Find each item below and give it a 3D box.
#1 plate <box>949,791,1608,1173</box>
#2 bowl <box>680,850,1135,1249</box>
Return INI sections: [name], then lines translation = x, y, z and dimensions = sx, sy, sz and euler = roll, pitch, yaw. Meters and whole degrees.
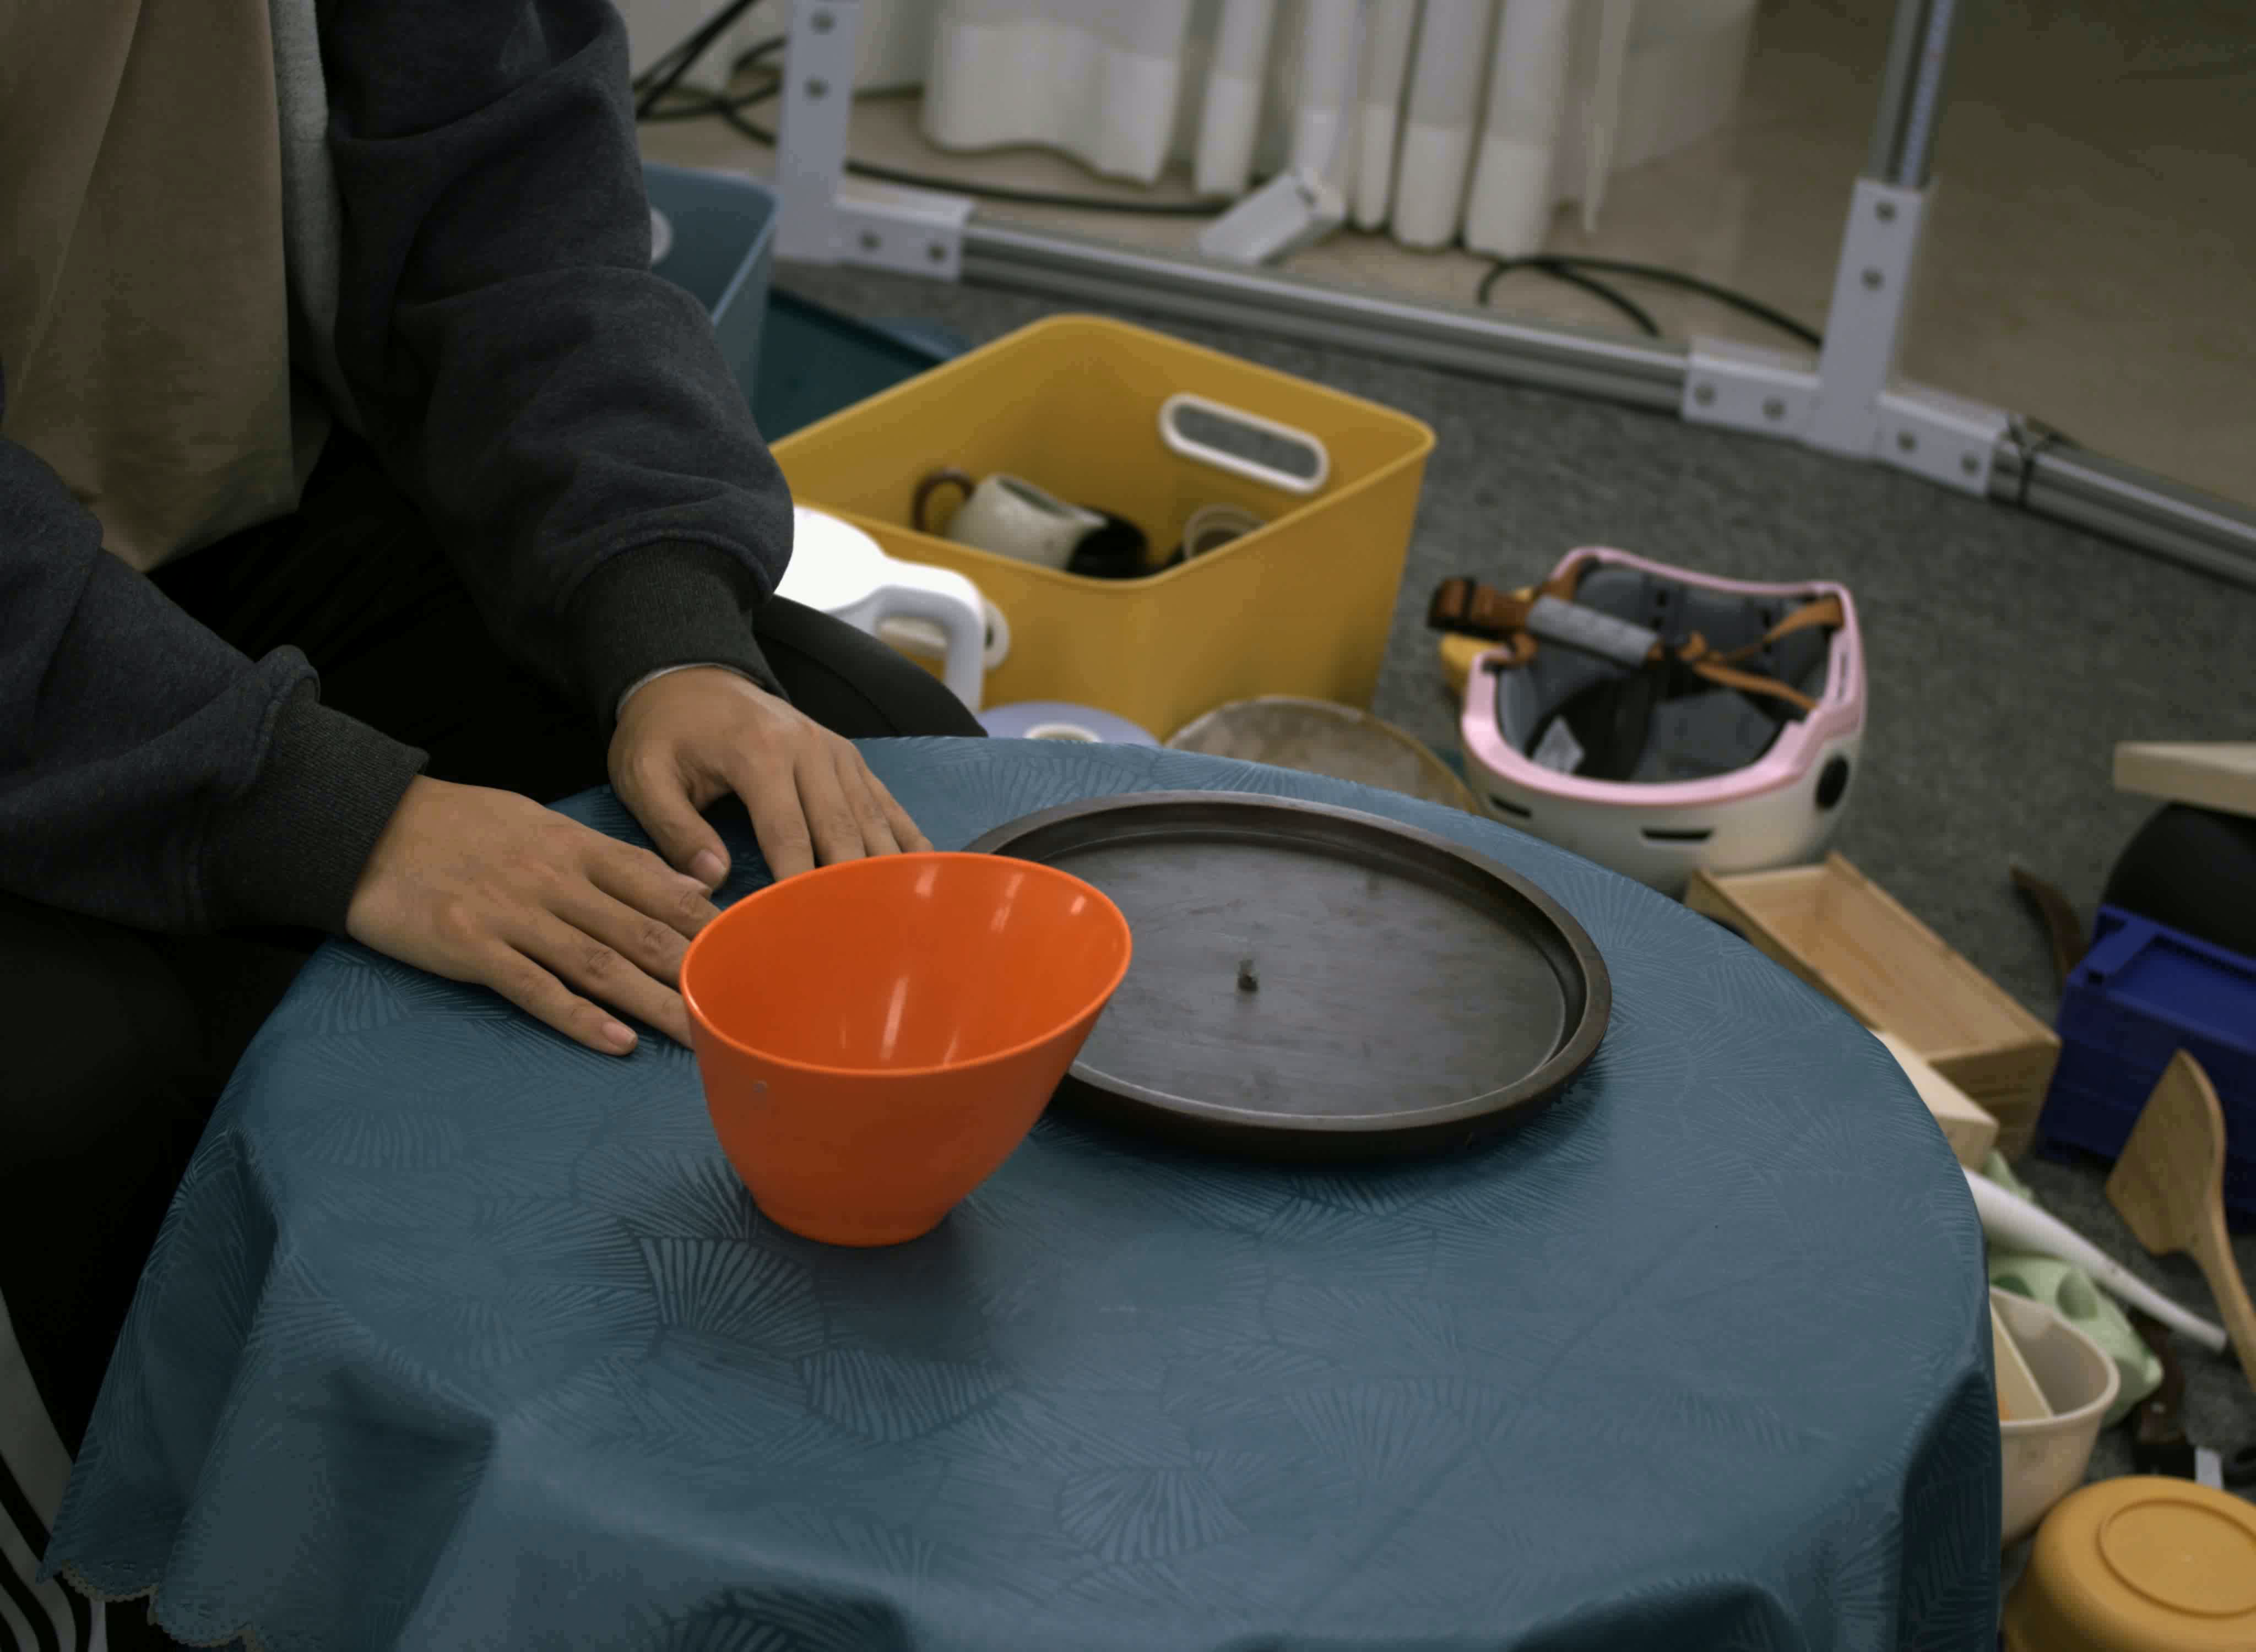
[plate]
translation = 0.048, 0.054, 1.923
dimensions = 0.254, 0.029, 0.256
euler = 4, 28, -3
[bowl]
translation = -0.077, 0.080, 1.758
dimensions = 0.147, 0.104, 0.149
euler = 6, 29, -3
